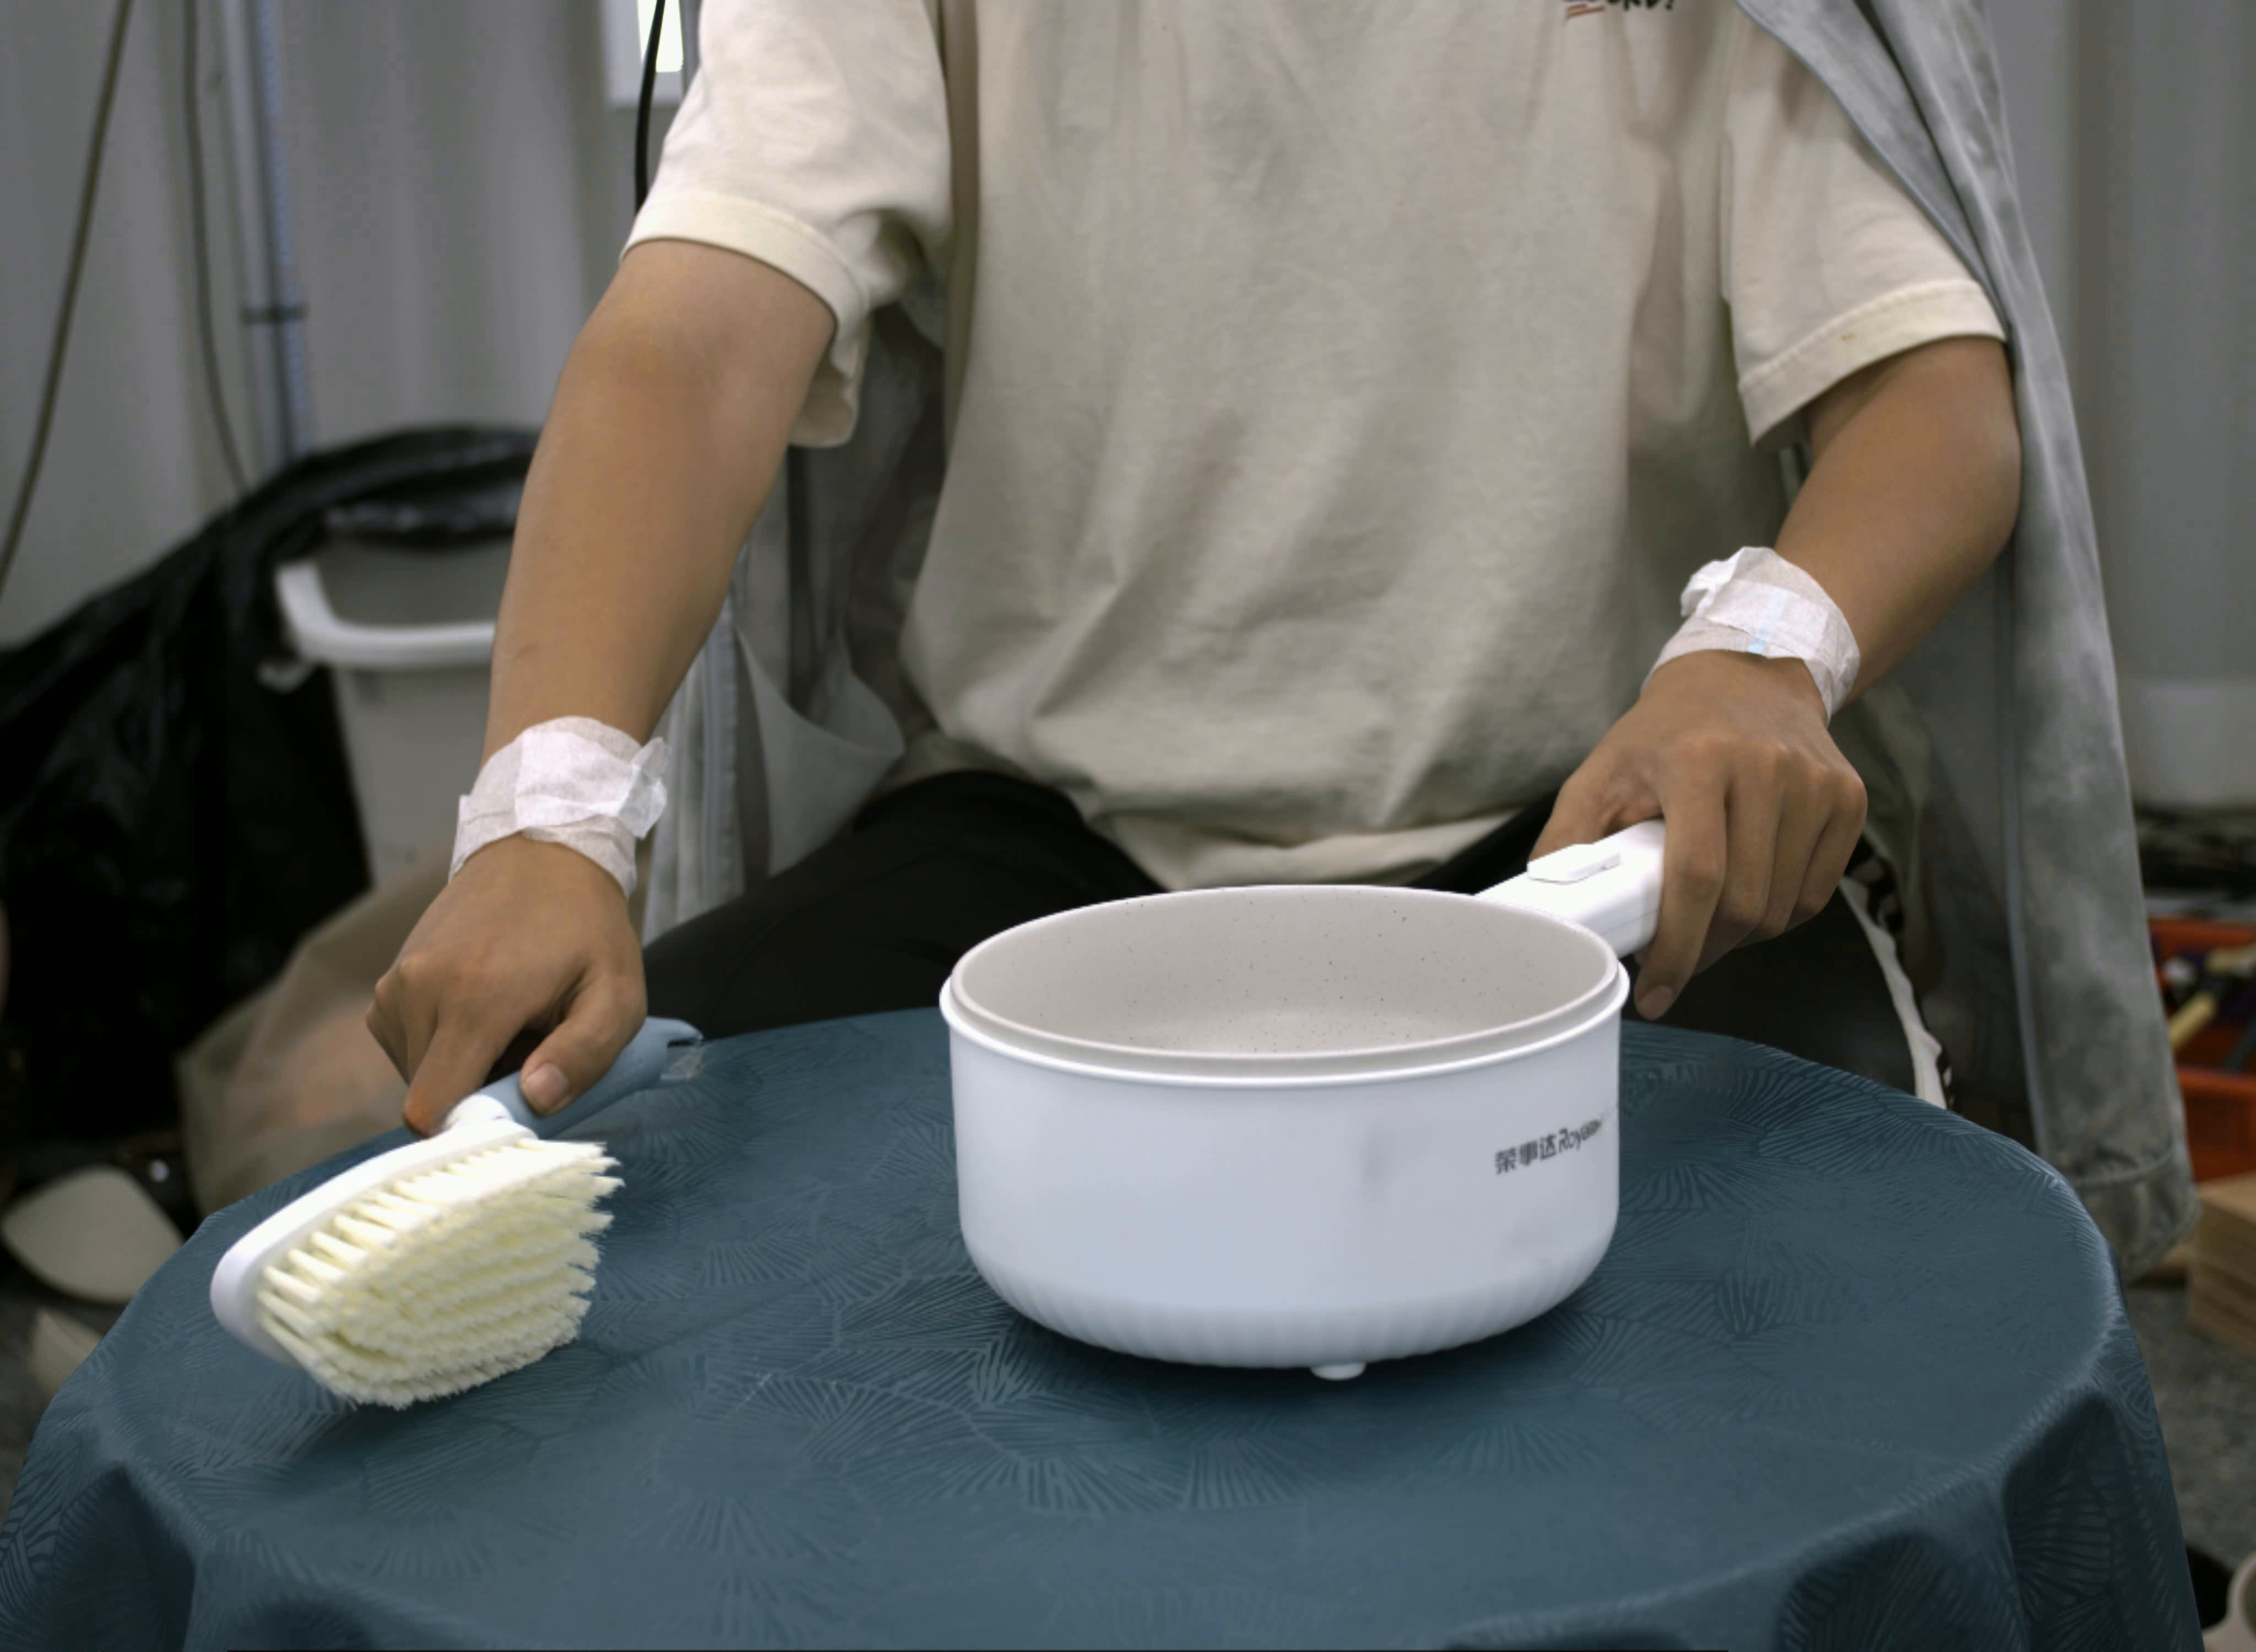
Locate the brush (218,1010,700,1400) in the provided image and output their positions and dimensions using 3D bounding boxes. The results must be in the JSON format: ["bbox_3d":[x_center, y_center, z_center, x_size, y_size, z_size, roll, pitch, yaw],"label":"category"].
[{"bbox_3d":[-0.169,0.106,1.659,0.083,0.085,0.326,-38,-3,20],"label":"brush"}]

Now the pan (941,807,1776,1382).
[{"bbox_3d":[0.091,0.075,1.664,0.202,0.102,0.354,7,15,35],"label":"pan"}]
